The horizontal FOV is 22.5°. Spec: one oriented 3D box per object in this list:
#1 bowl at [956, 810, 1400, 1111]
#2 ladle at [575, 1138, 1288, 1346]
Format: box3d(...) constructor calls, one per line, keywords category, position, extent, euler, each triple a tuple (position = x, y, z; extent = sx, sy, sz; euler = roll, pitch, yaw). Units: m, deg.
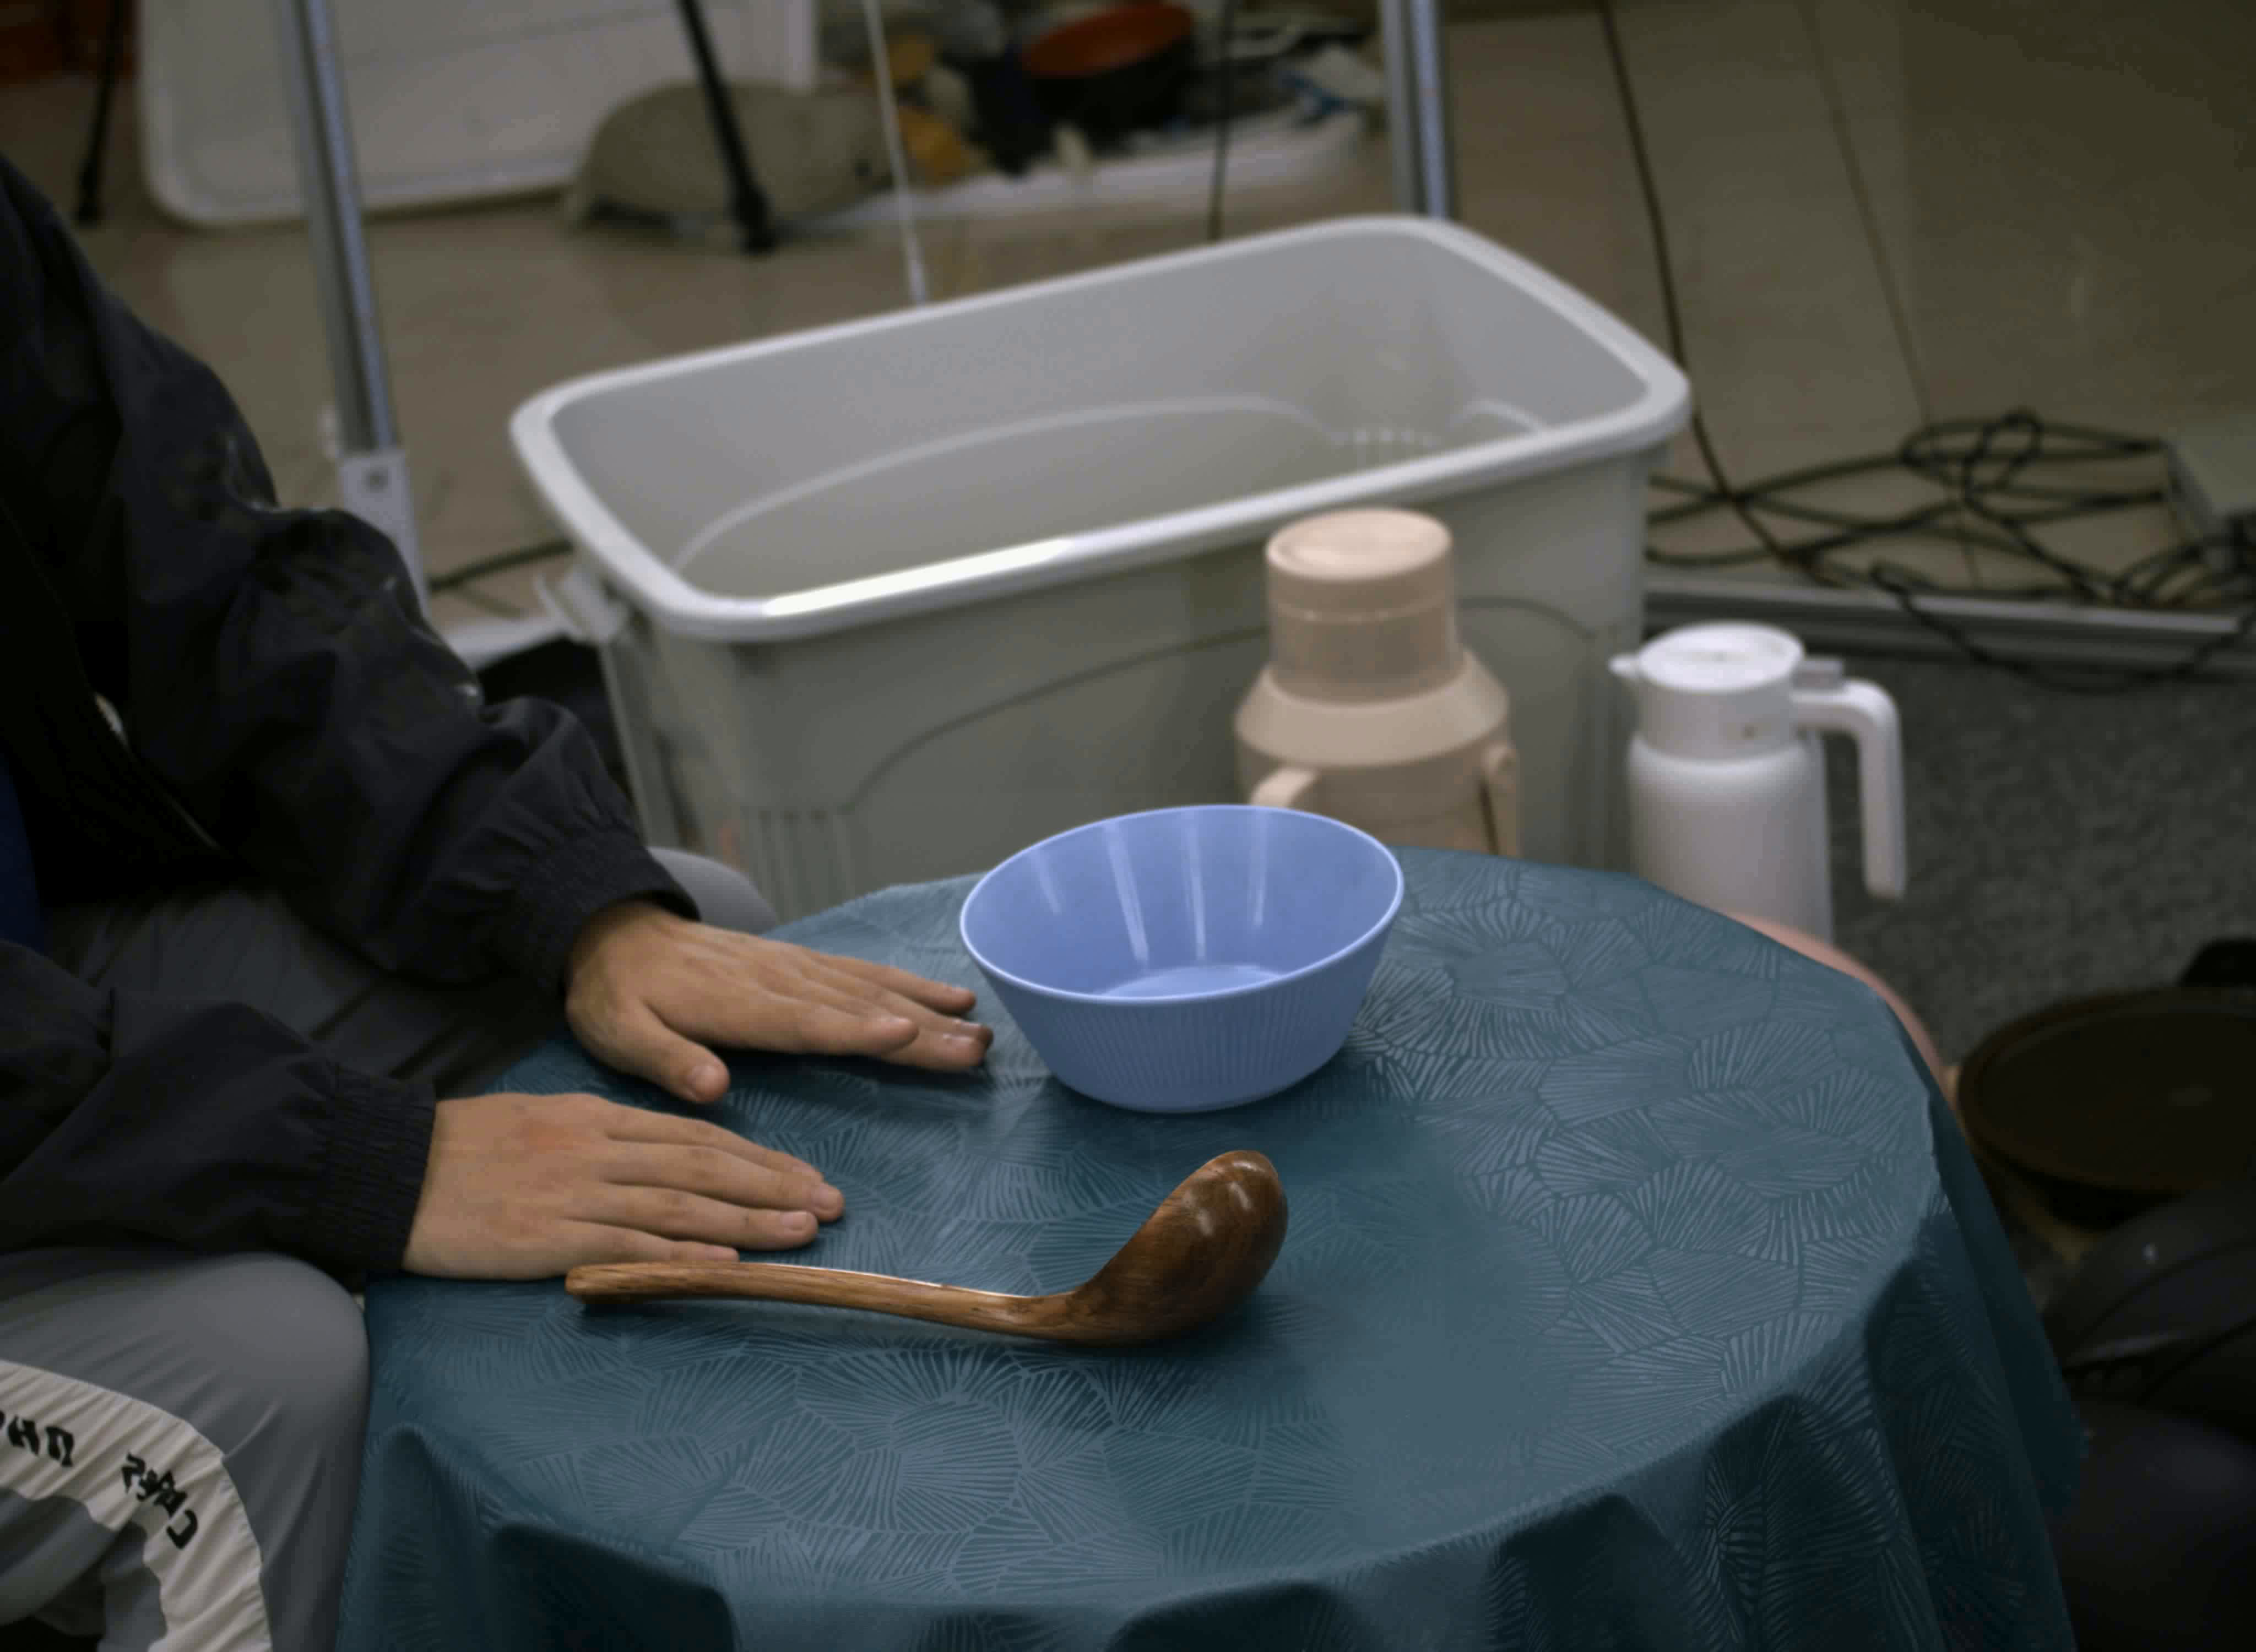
box3d(category="bowl", position=(0.022, 0.058, 2.232), extent=(0.176, 0.071, 0.173), euler=(-6, 24, 3))
box3d(category="ladle", position=(-0.074, 0.146, 2.068), extent=(0.273, 0.083, 0.076), euler=(2, 71, 23))
